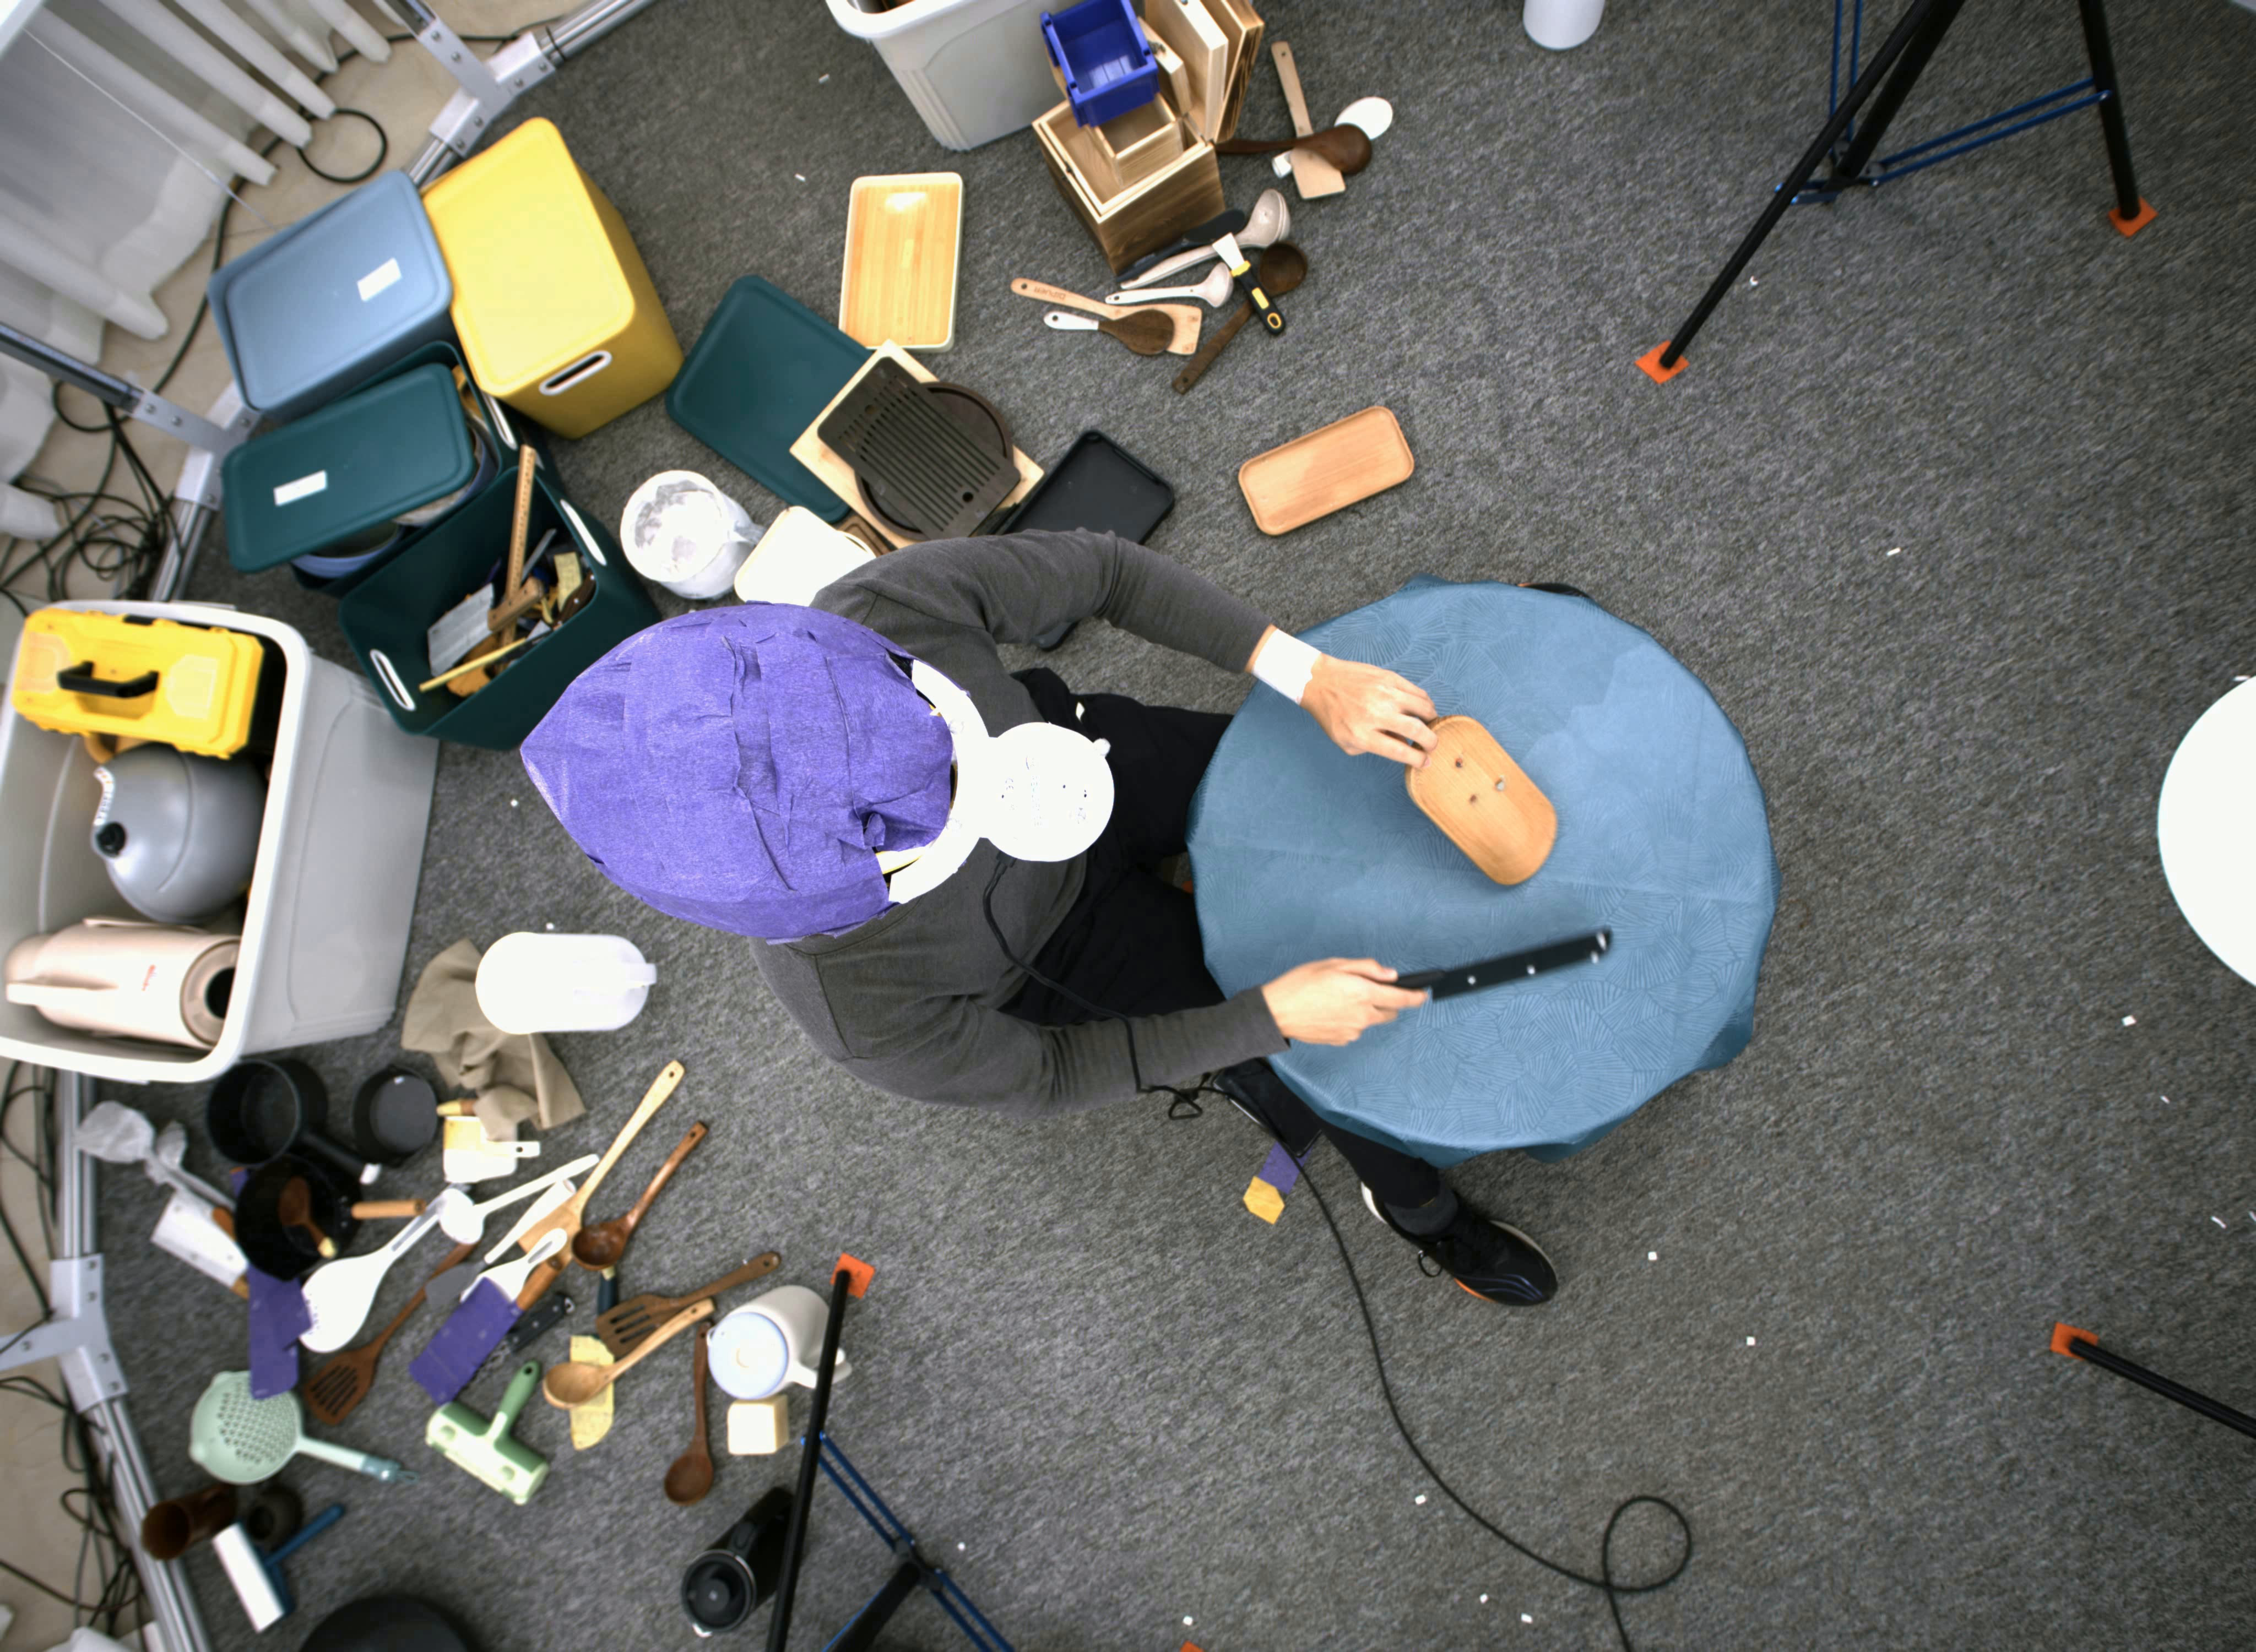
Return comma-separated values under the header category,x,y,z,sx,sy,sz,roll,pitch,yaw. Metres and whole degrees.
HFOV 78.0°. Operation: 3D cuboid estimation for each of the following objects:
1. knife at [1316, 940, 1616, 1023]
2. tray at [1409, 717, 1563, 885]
category,x,y,z,sx,sy,sz,roll,pitch,yaw
knife,0.335,0.156,1.367,0.302,0.083,0.020,-11,56,0
tray,0.359,-0.025,1.369,0.233,0.020,0.102,37,91,-34
